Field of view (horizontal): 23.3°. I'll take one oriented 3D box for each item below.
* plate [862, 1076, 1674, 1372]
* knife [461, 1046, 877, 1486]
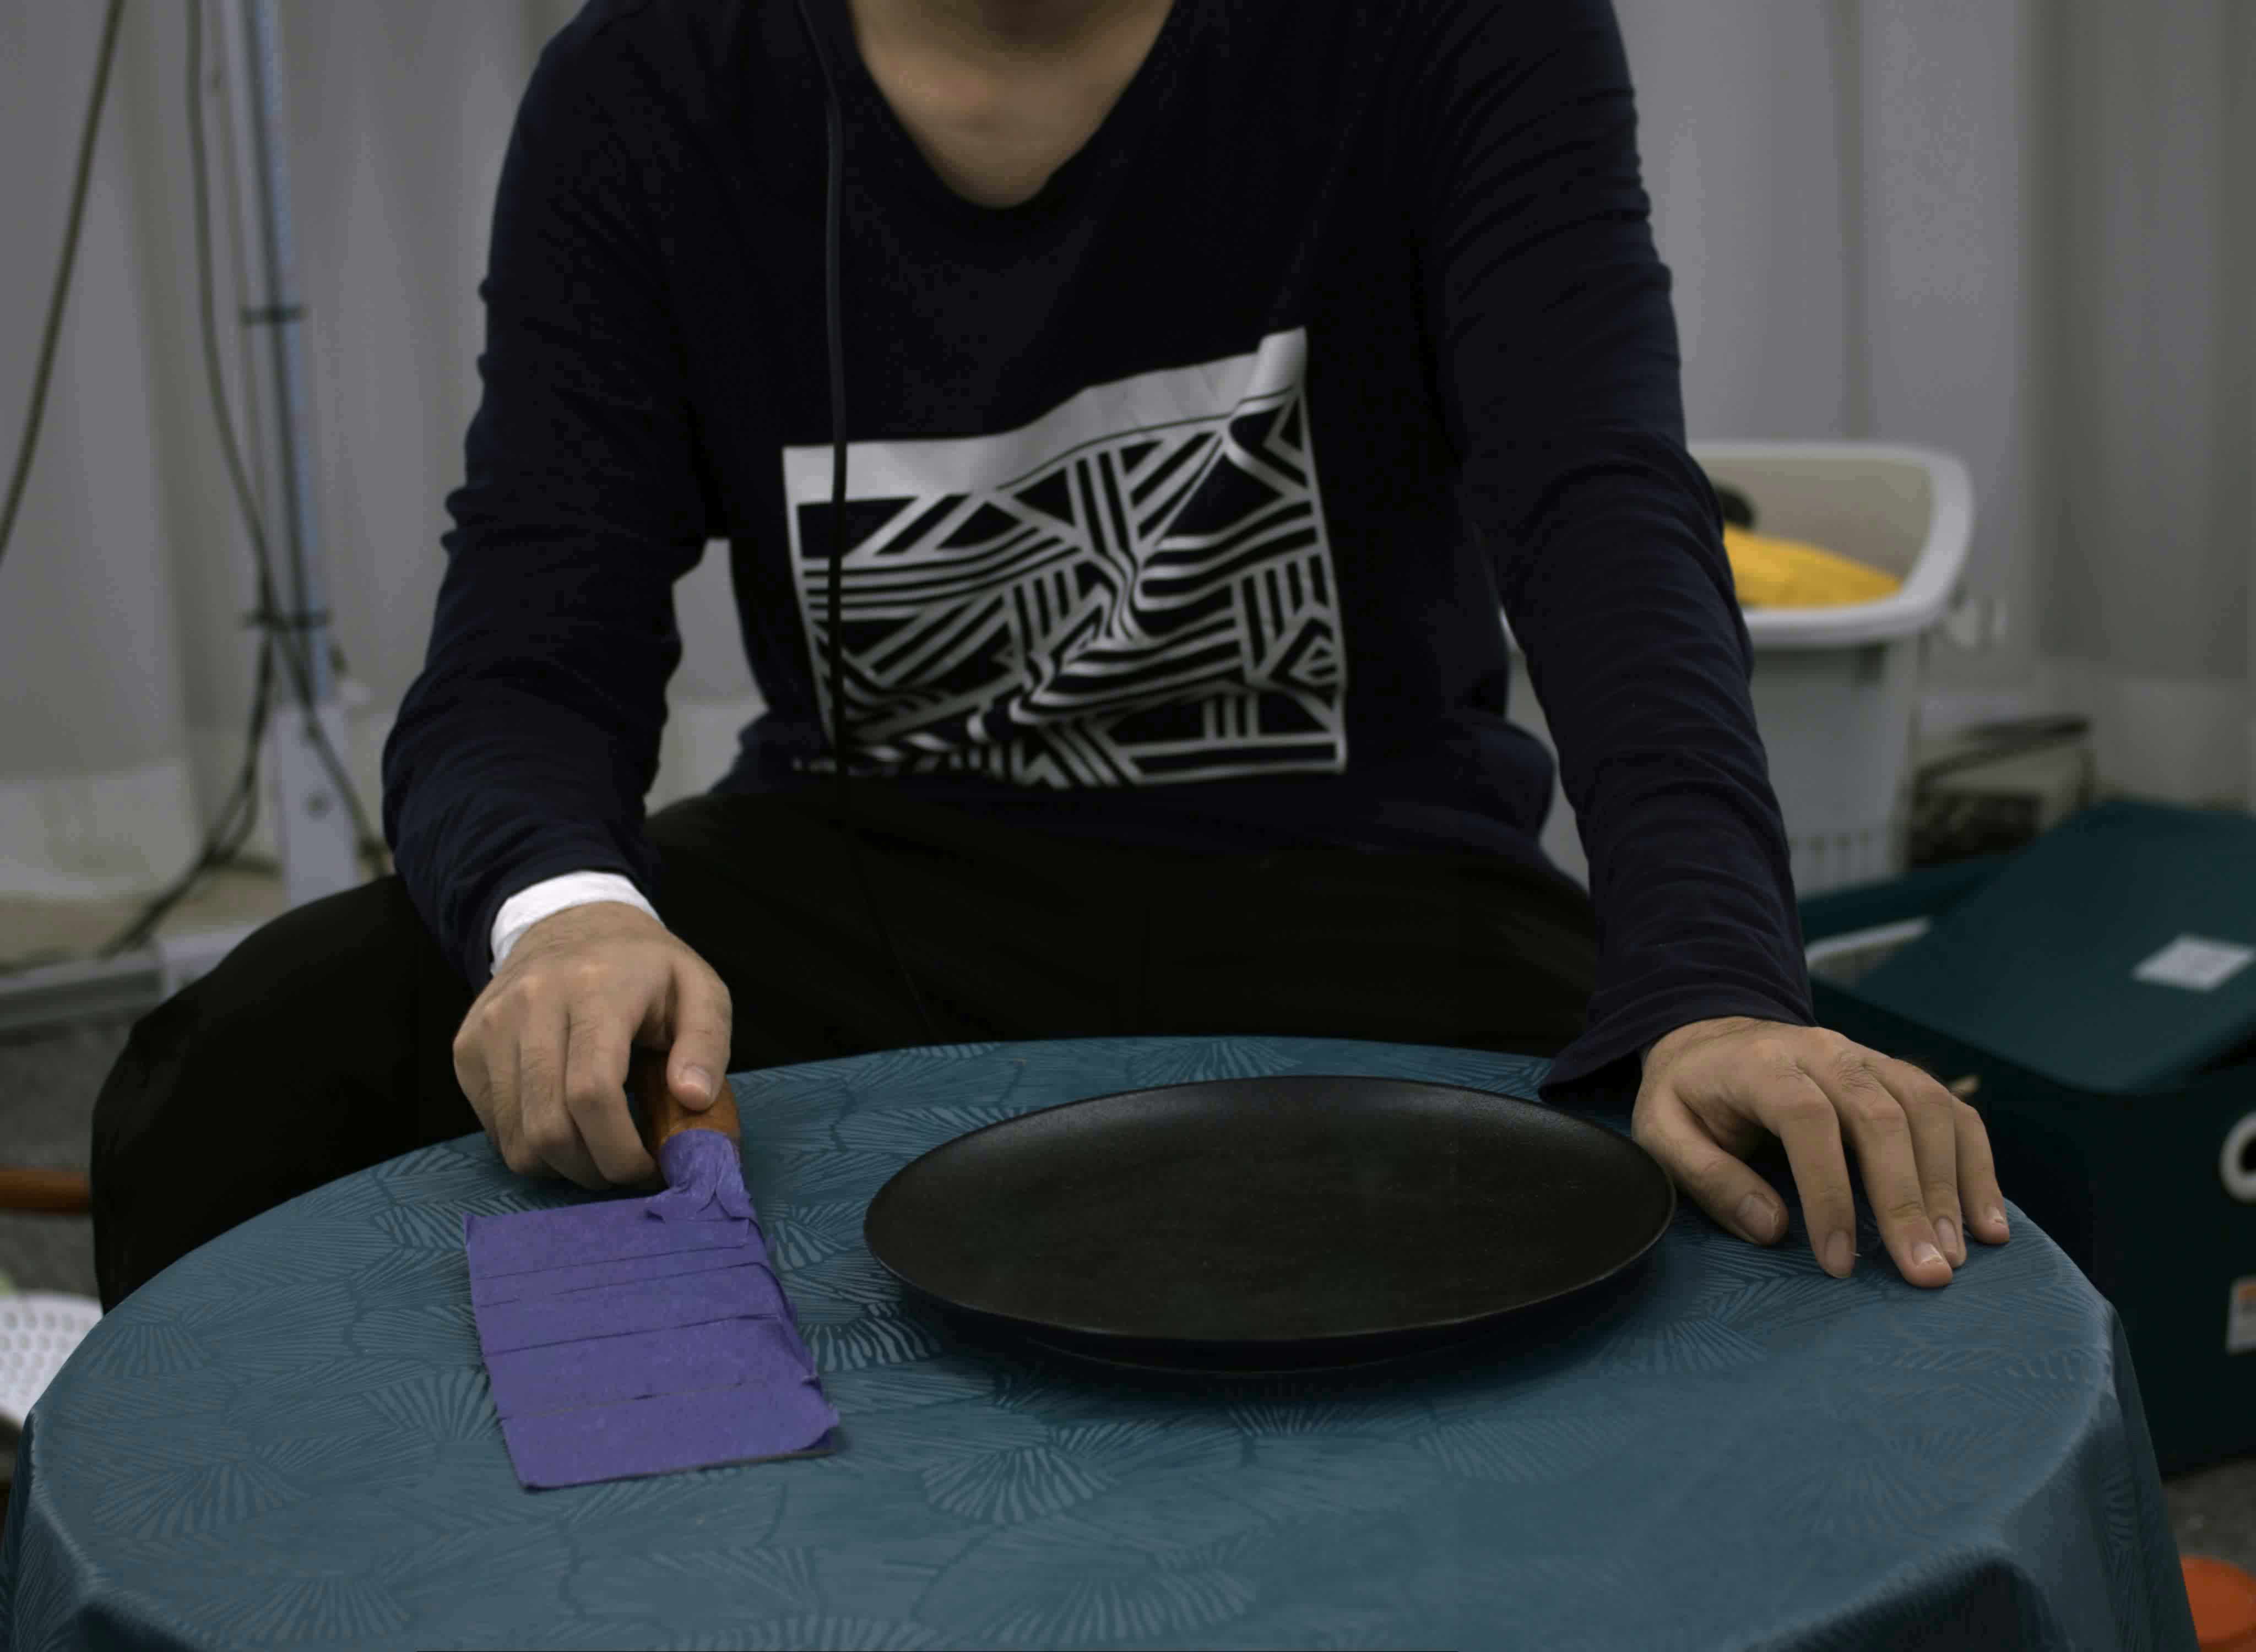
[{"bbox_3d":[0.042,0.122,1.639,0.243,0.023,0.246,-3,15,0],"label":"plate"},{"bbox_3d":[-0.151,0.128,1.643,0.103,0.032,0.318,-5,15,-11],"label":"knife"}]
